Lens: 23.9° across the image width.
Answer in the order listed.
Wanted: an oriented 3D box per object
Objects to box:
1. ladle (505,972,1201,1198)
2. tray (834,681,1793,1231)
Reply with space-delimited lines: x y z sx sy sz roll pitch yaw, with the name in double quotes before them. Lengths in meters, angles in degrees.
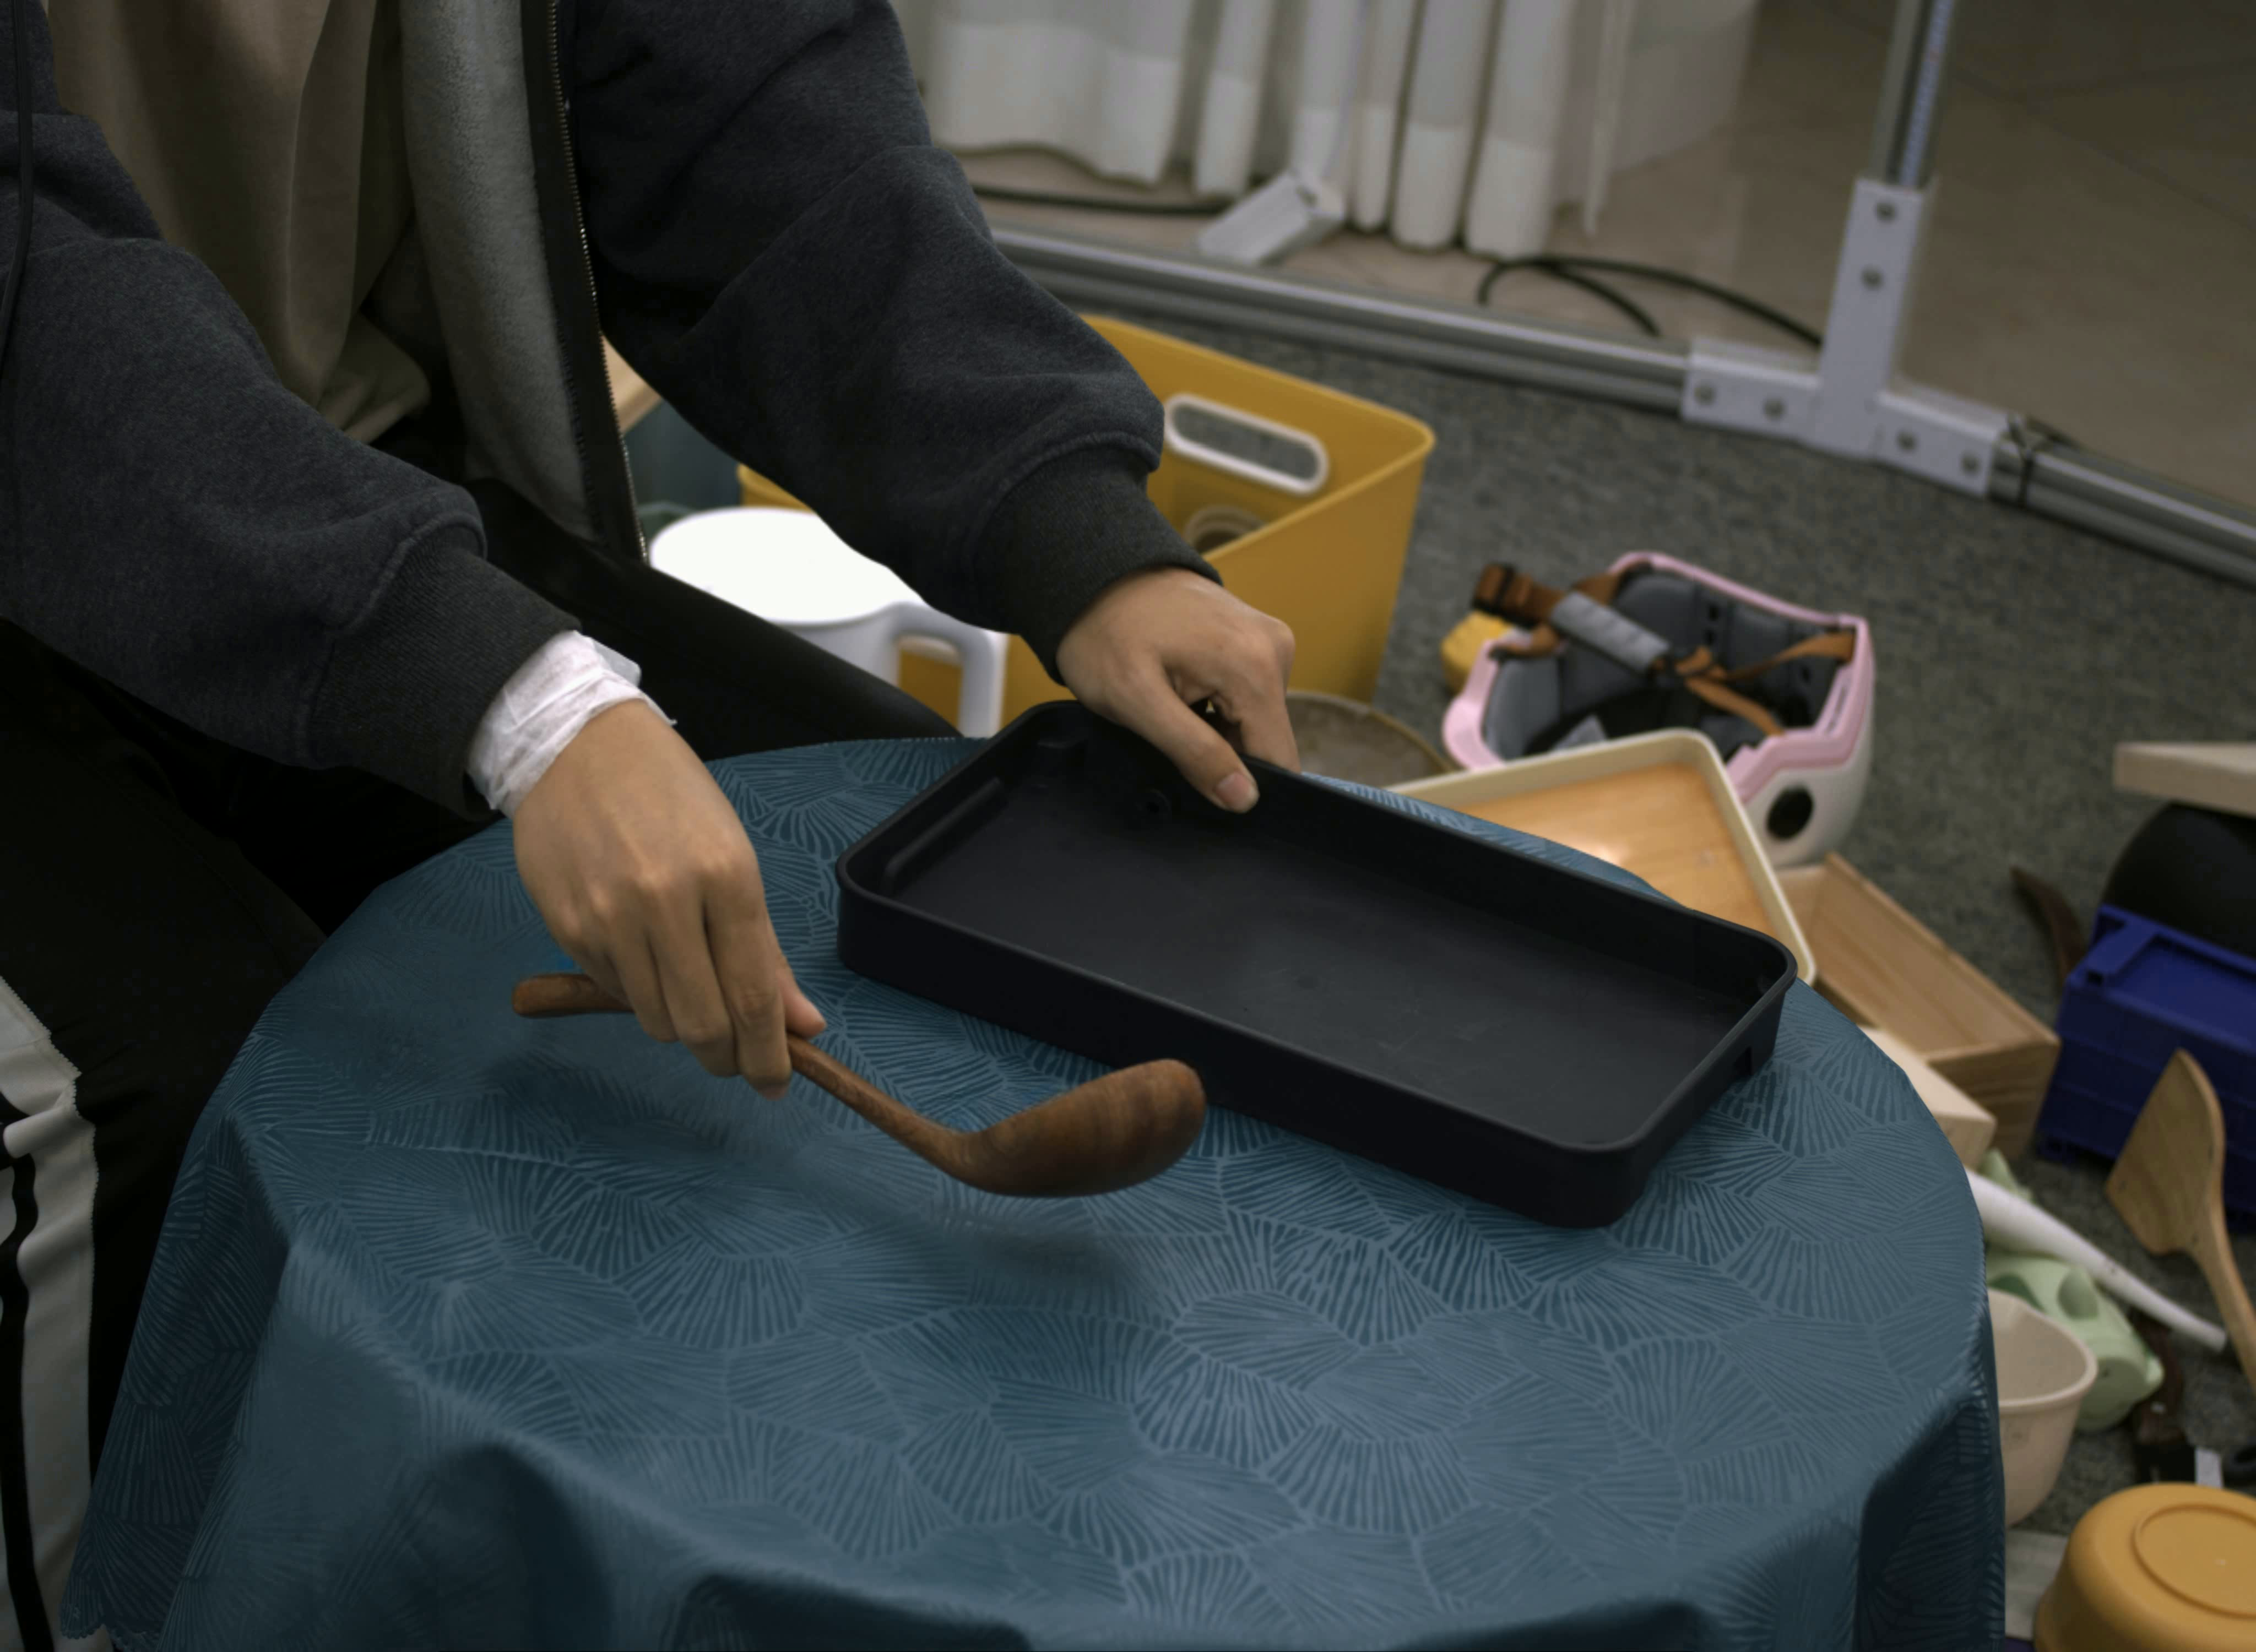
"ladle" -0.095 0.070 1.779 0.261 0.065 0.076 18 -1 27
"tray" 0.065 0.042 1.923 0.319 0.037 0.184 21 32 22
